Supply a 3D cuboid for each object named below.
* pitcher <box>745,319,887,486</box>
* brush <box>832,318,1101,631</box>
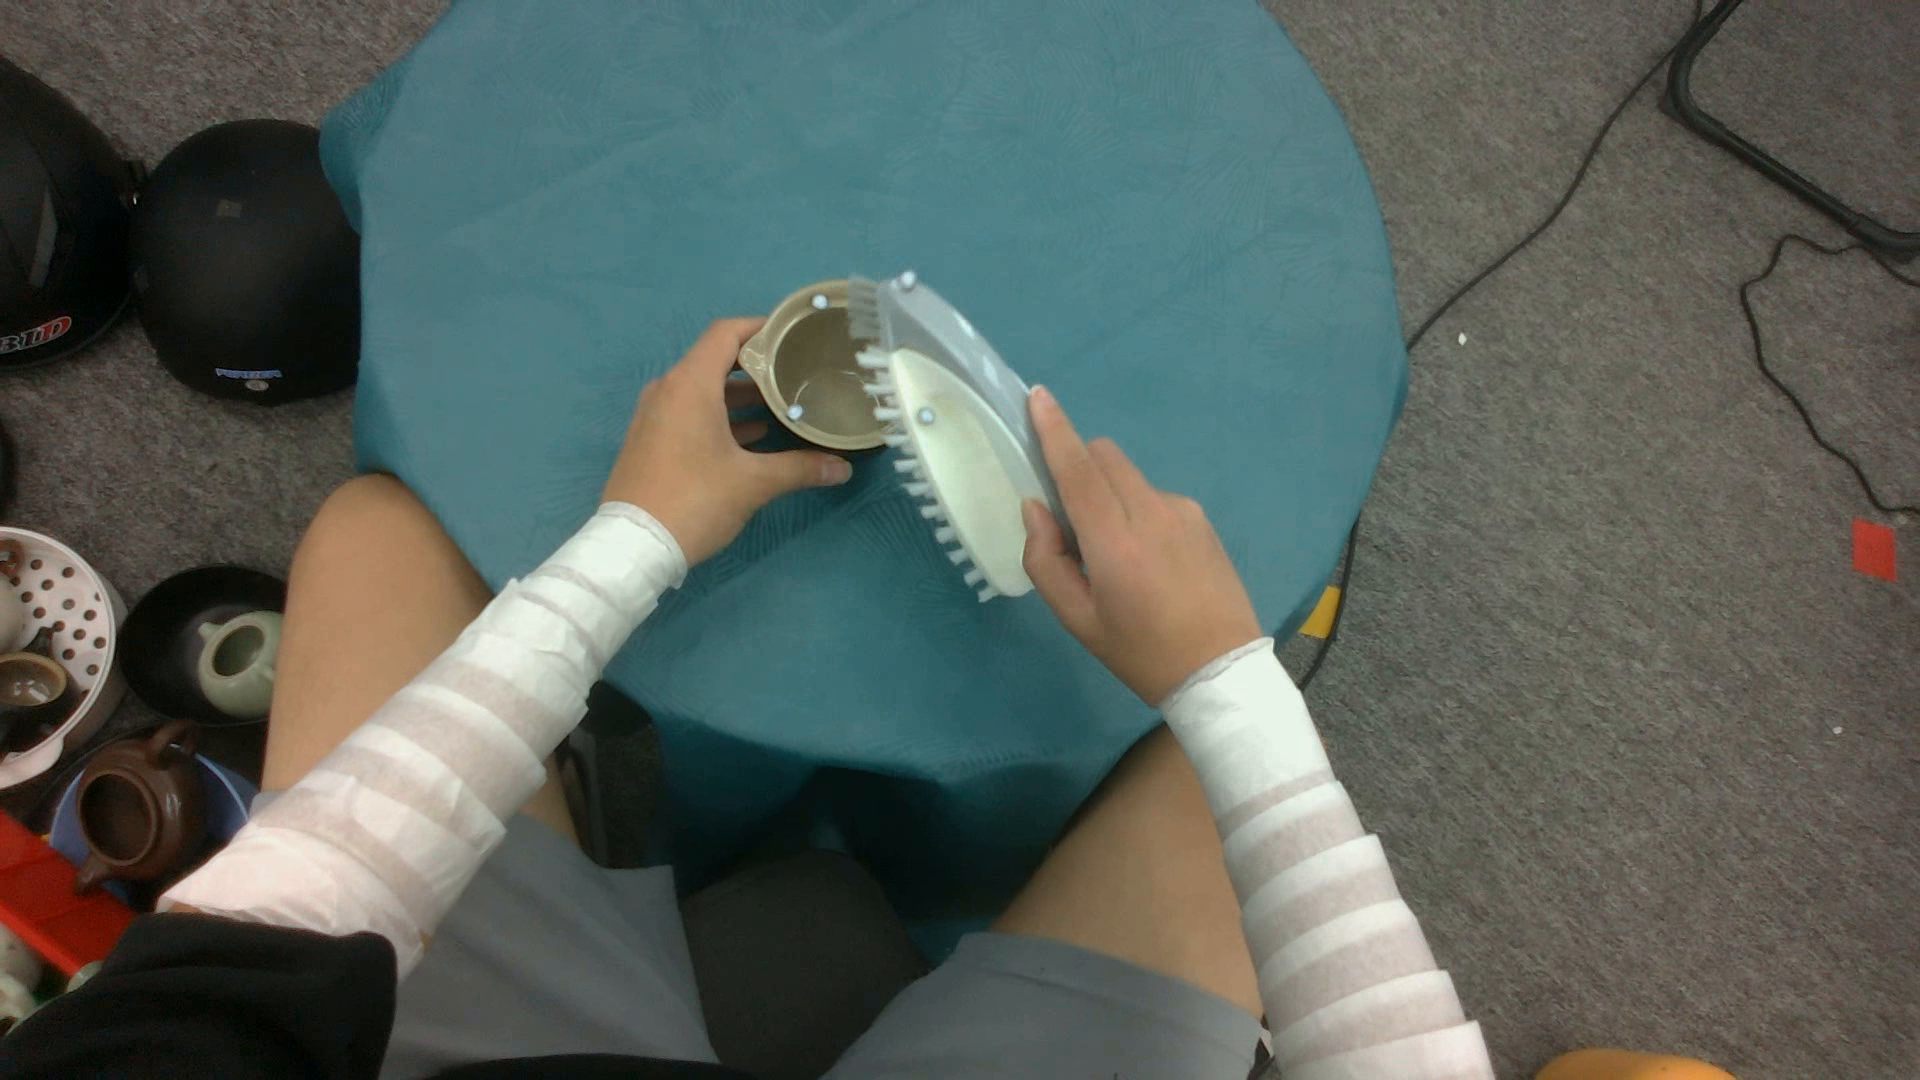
[{"bbox_3d":[-0.066,-0.068,0.738,0.096,0.071,0.084,-1,73,-7],"label":"pitcher"},{"bbox_3d":[0.007,-0.039,0.671,0.062,0.094,0.175,-42,106,-31],"label":"brush"}]
